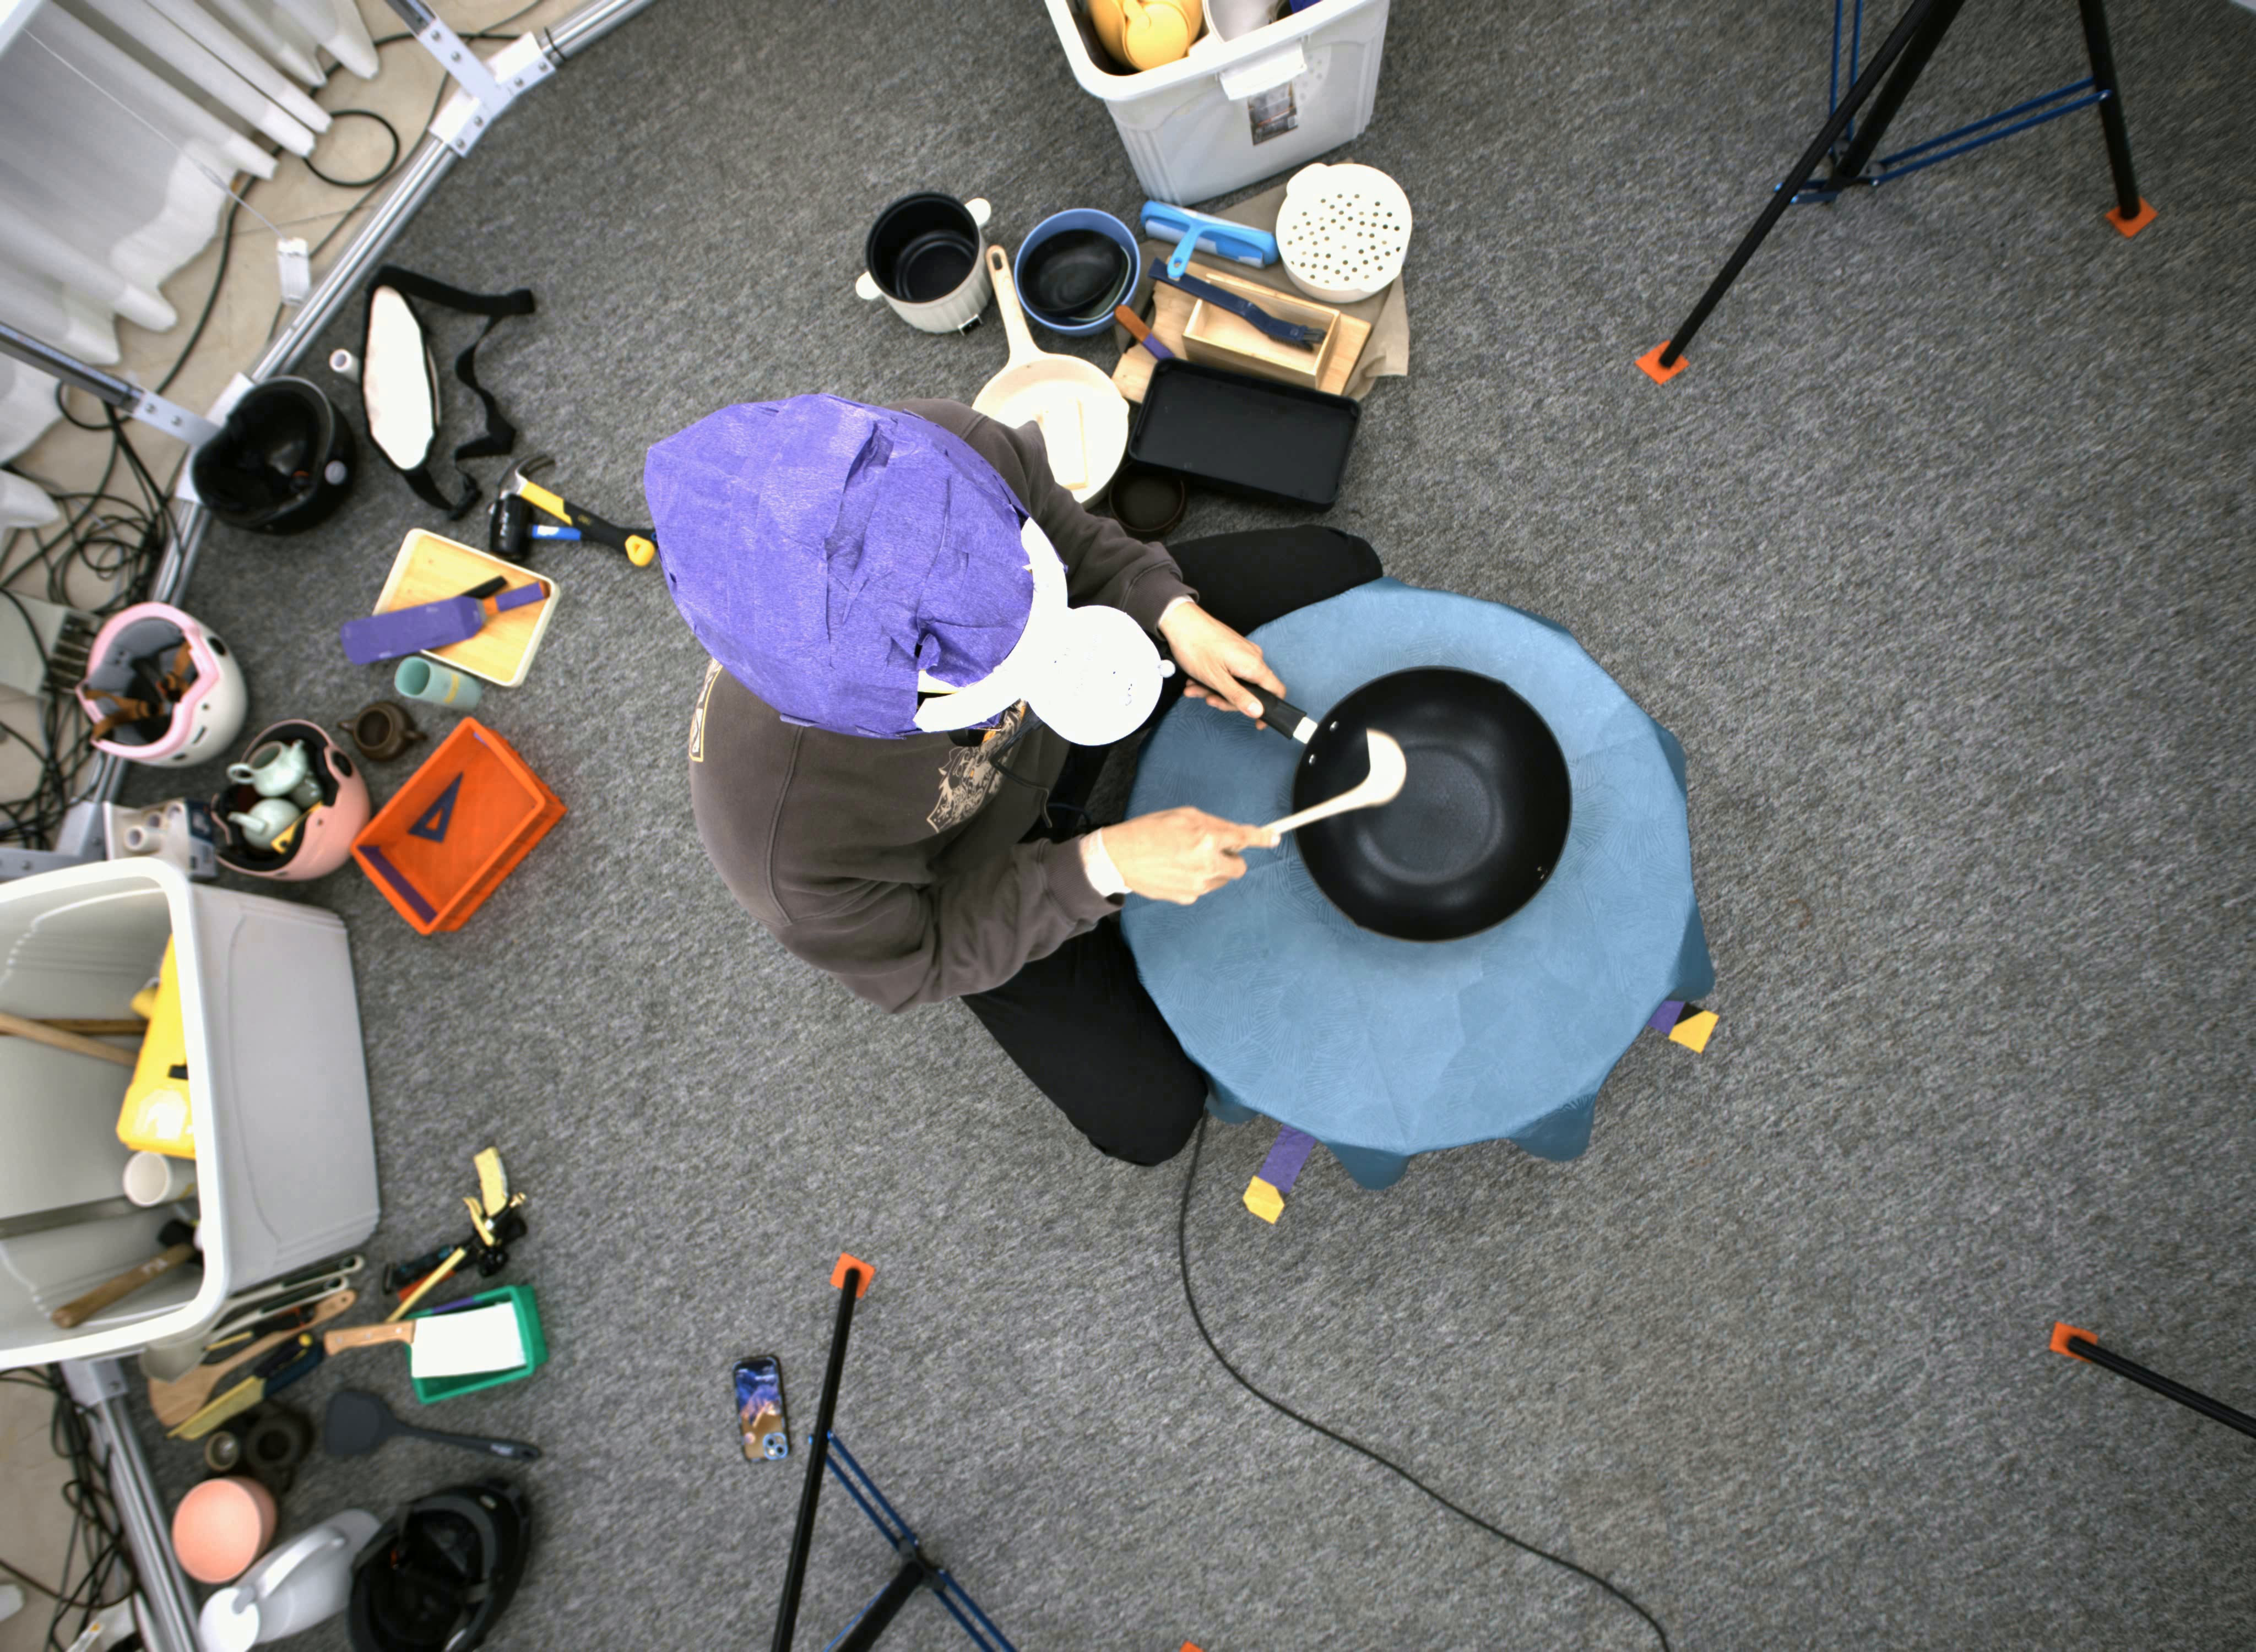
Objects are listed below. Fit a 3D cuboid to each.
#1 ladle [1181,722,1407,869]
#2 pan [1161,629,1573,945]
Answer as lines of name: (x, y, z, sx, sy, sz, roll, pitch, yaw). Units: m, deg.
ladle: (0.151, -0.030, 1.339, 0.253, 0.074, 0.071, -22, 42, -9)
pan: (0.232, -0.067, 1.430, 0.462, 0.087, 0.289, 32, 93, 12)
